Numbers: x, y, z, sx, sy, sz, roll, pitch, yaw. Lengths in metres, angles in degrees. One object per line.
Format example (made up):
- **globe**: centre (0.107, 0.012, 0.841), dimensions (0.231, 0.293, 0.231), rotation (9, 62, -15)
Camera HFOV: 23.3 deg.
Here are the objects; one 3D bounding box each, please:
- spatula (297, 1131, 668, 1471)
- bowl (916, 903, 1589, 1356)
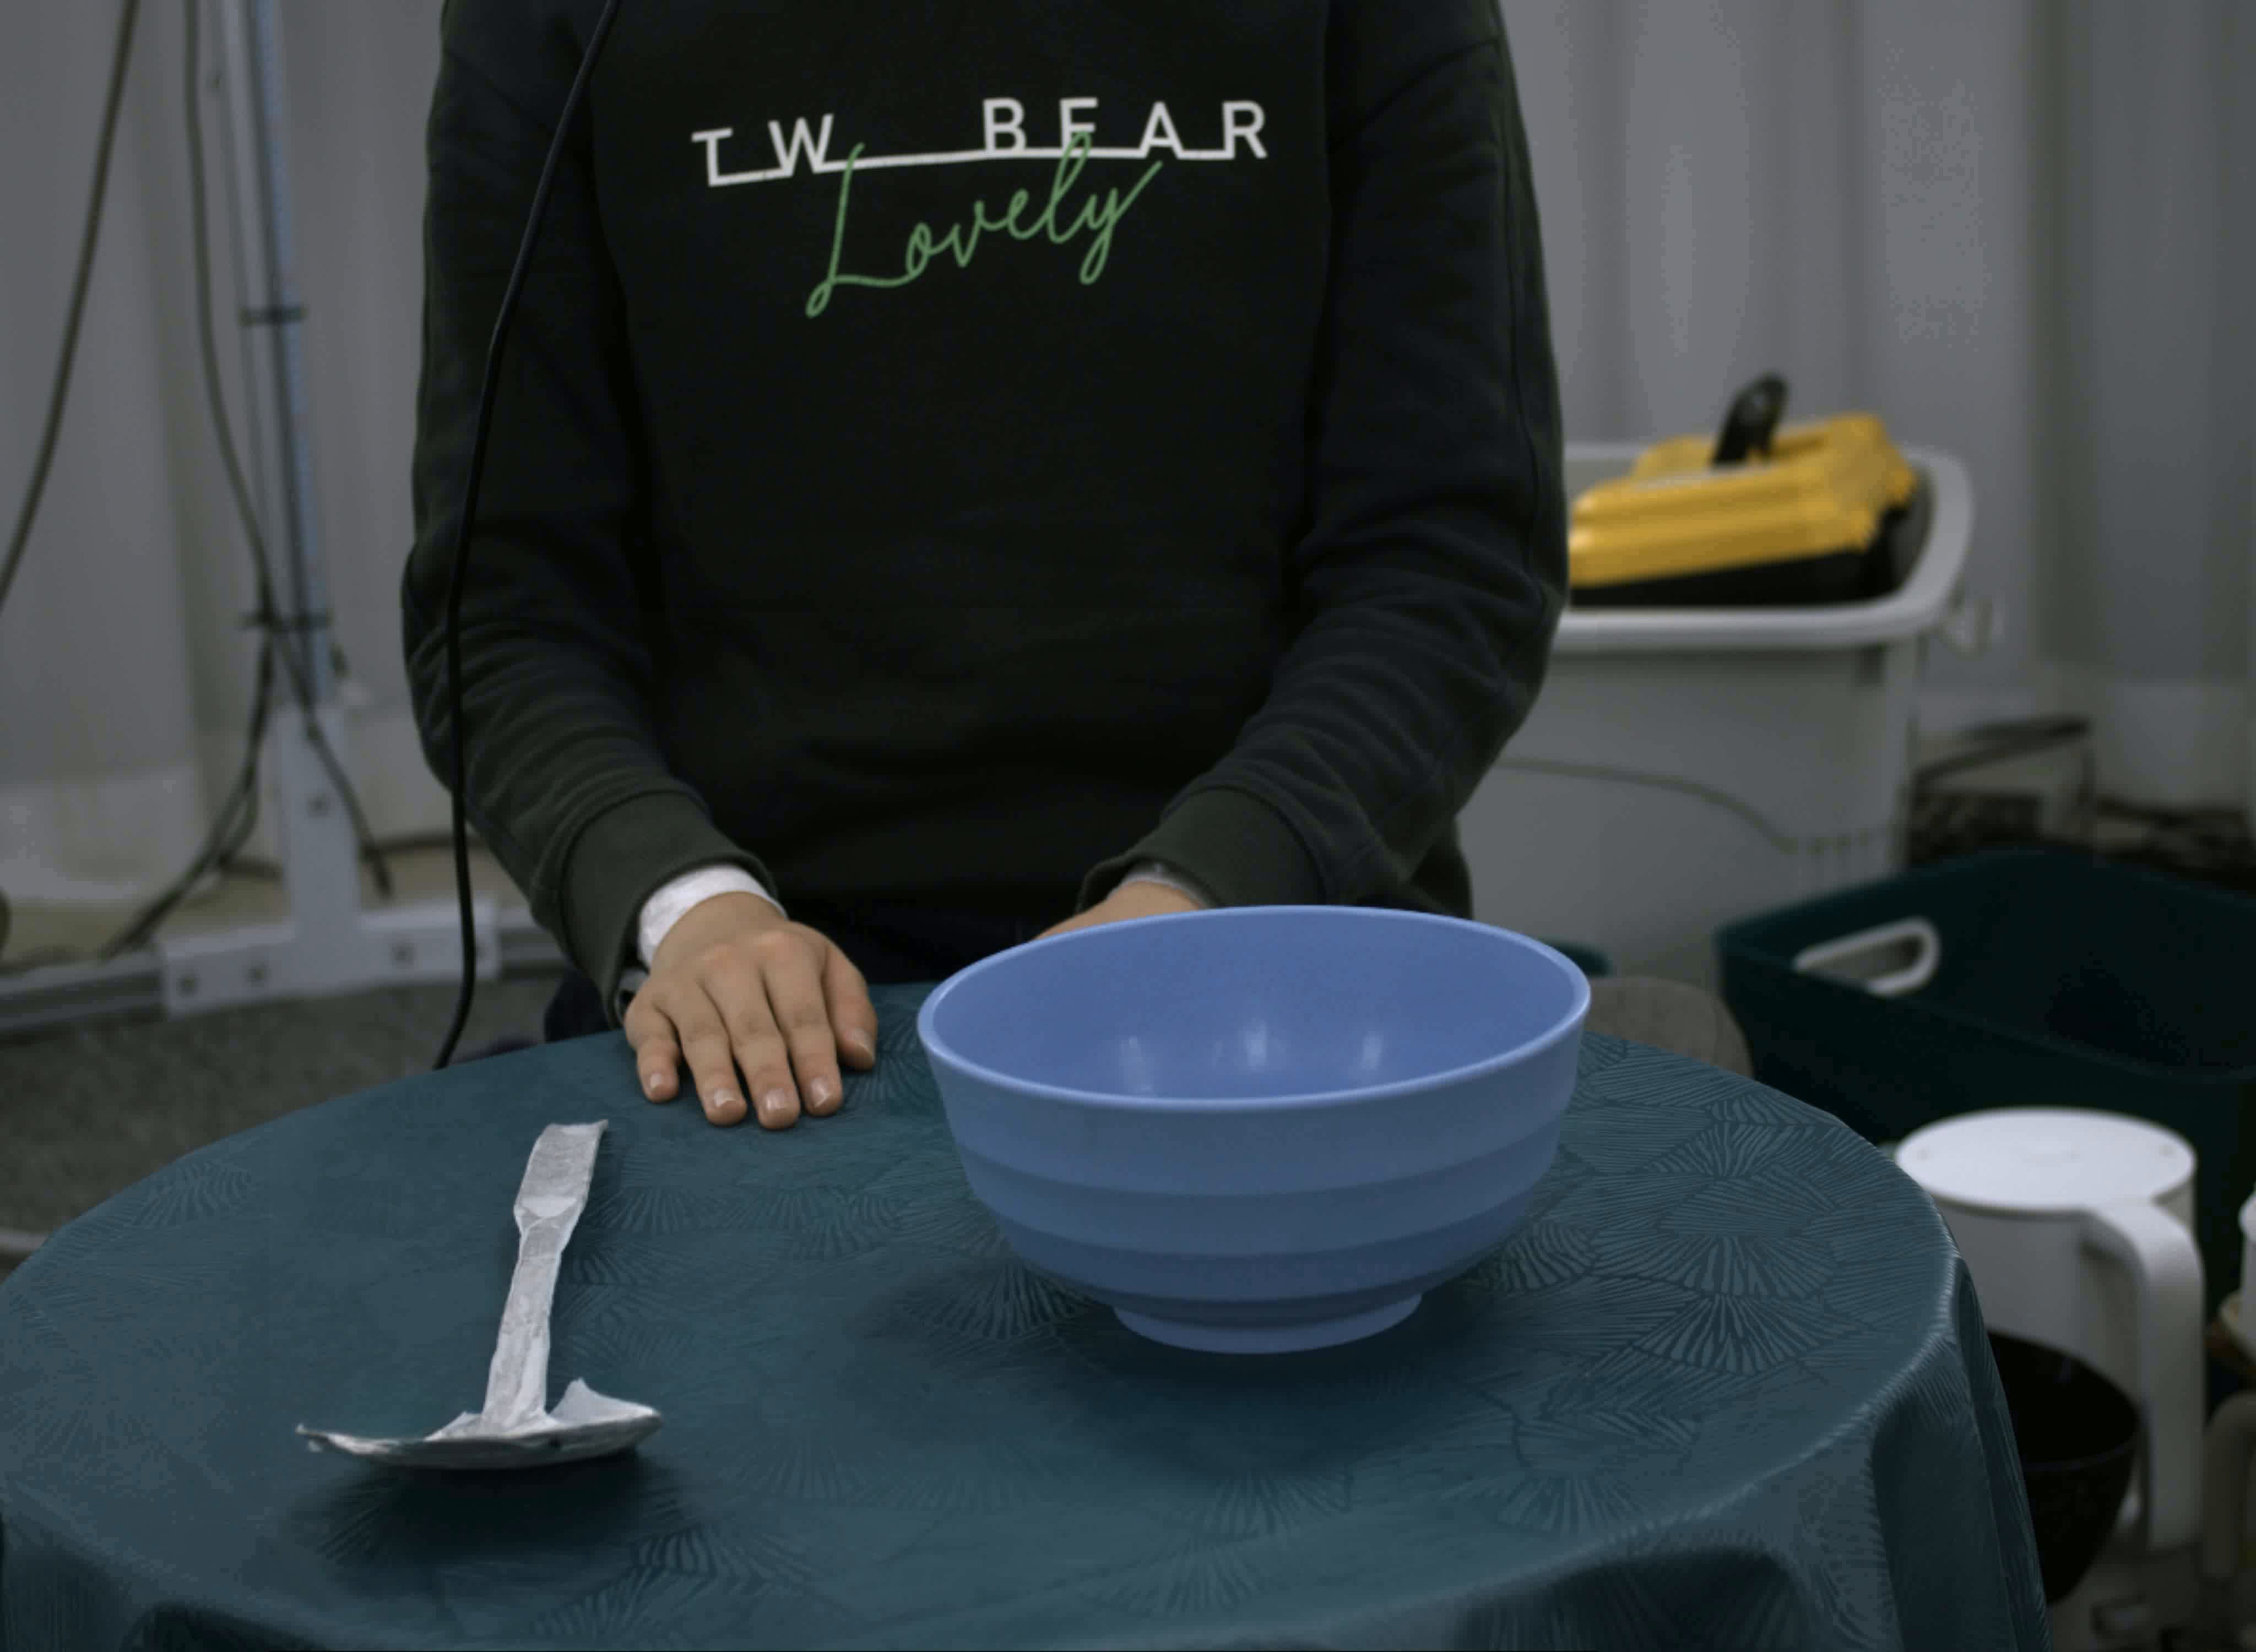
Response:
- **spatula**: centre (-0.172, 0.131, 1.611), dimensions (0.098, 0.044, 0.367), rotation (-4, 15, 1)
- **bowl**: centre (0.039, 0.094, 1.599), dimensions (0.196, 0.095, 0.198), rotation (-4, 15, 1)
